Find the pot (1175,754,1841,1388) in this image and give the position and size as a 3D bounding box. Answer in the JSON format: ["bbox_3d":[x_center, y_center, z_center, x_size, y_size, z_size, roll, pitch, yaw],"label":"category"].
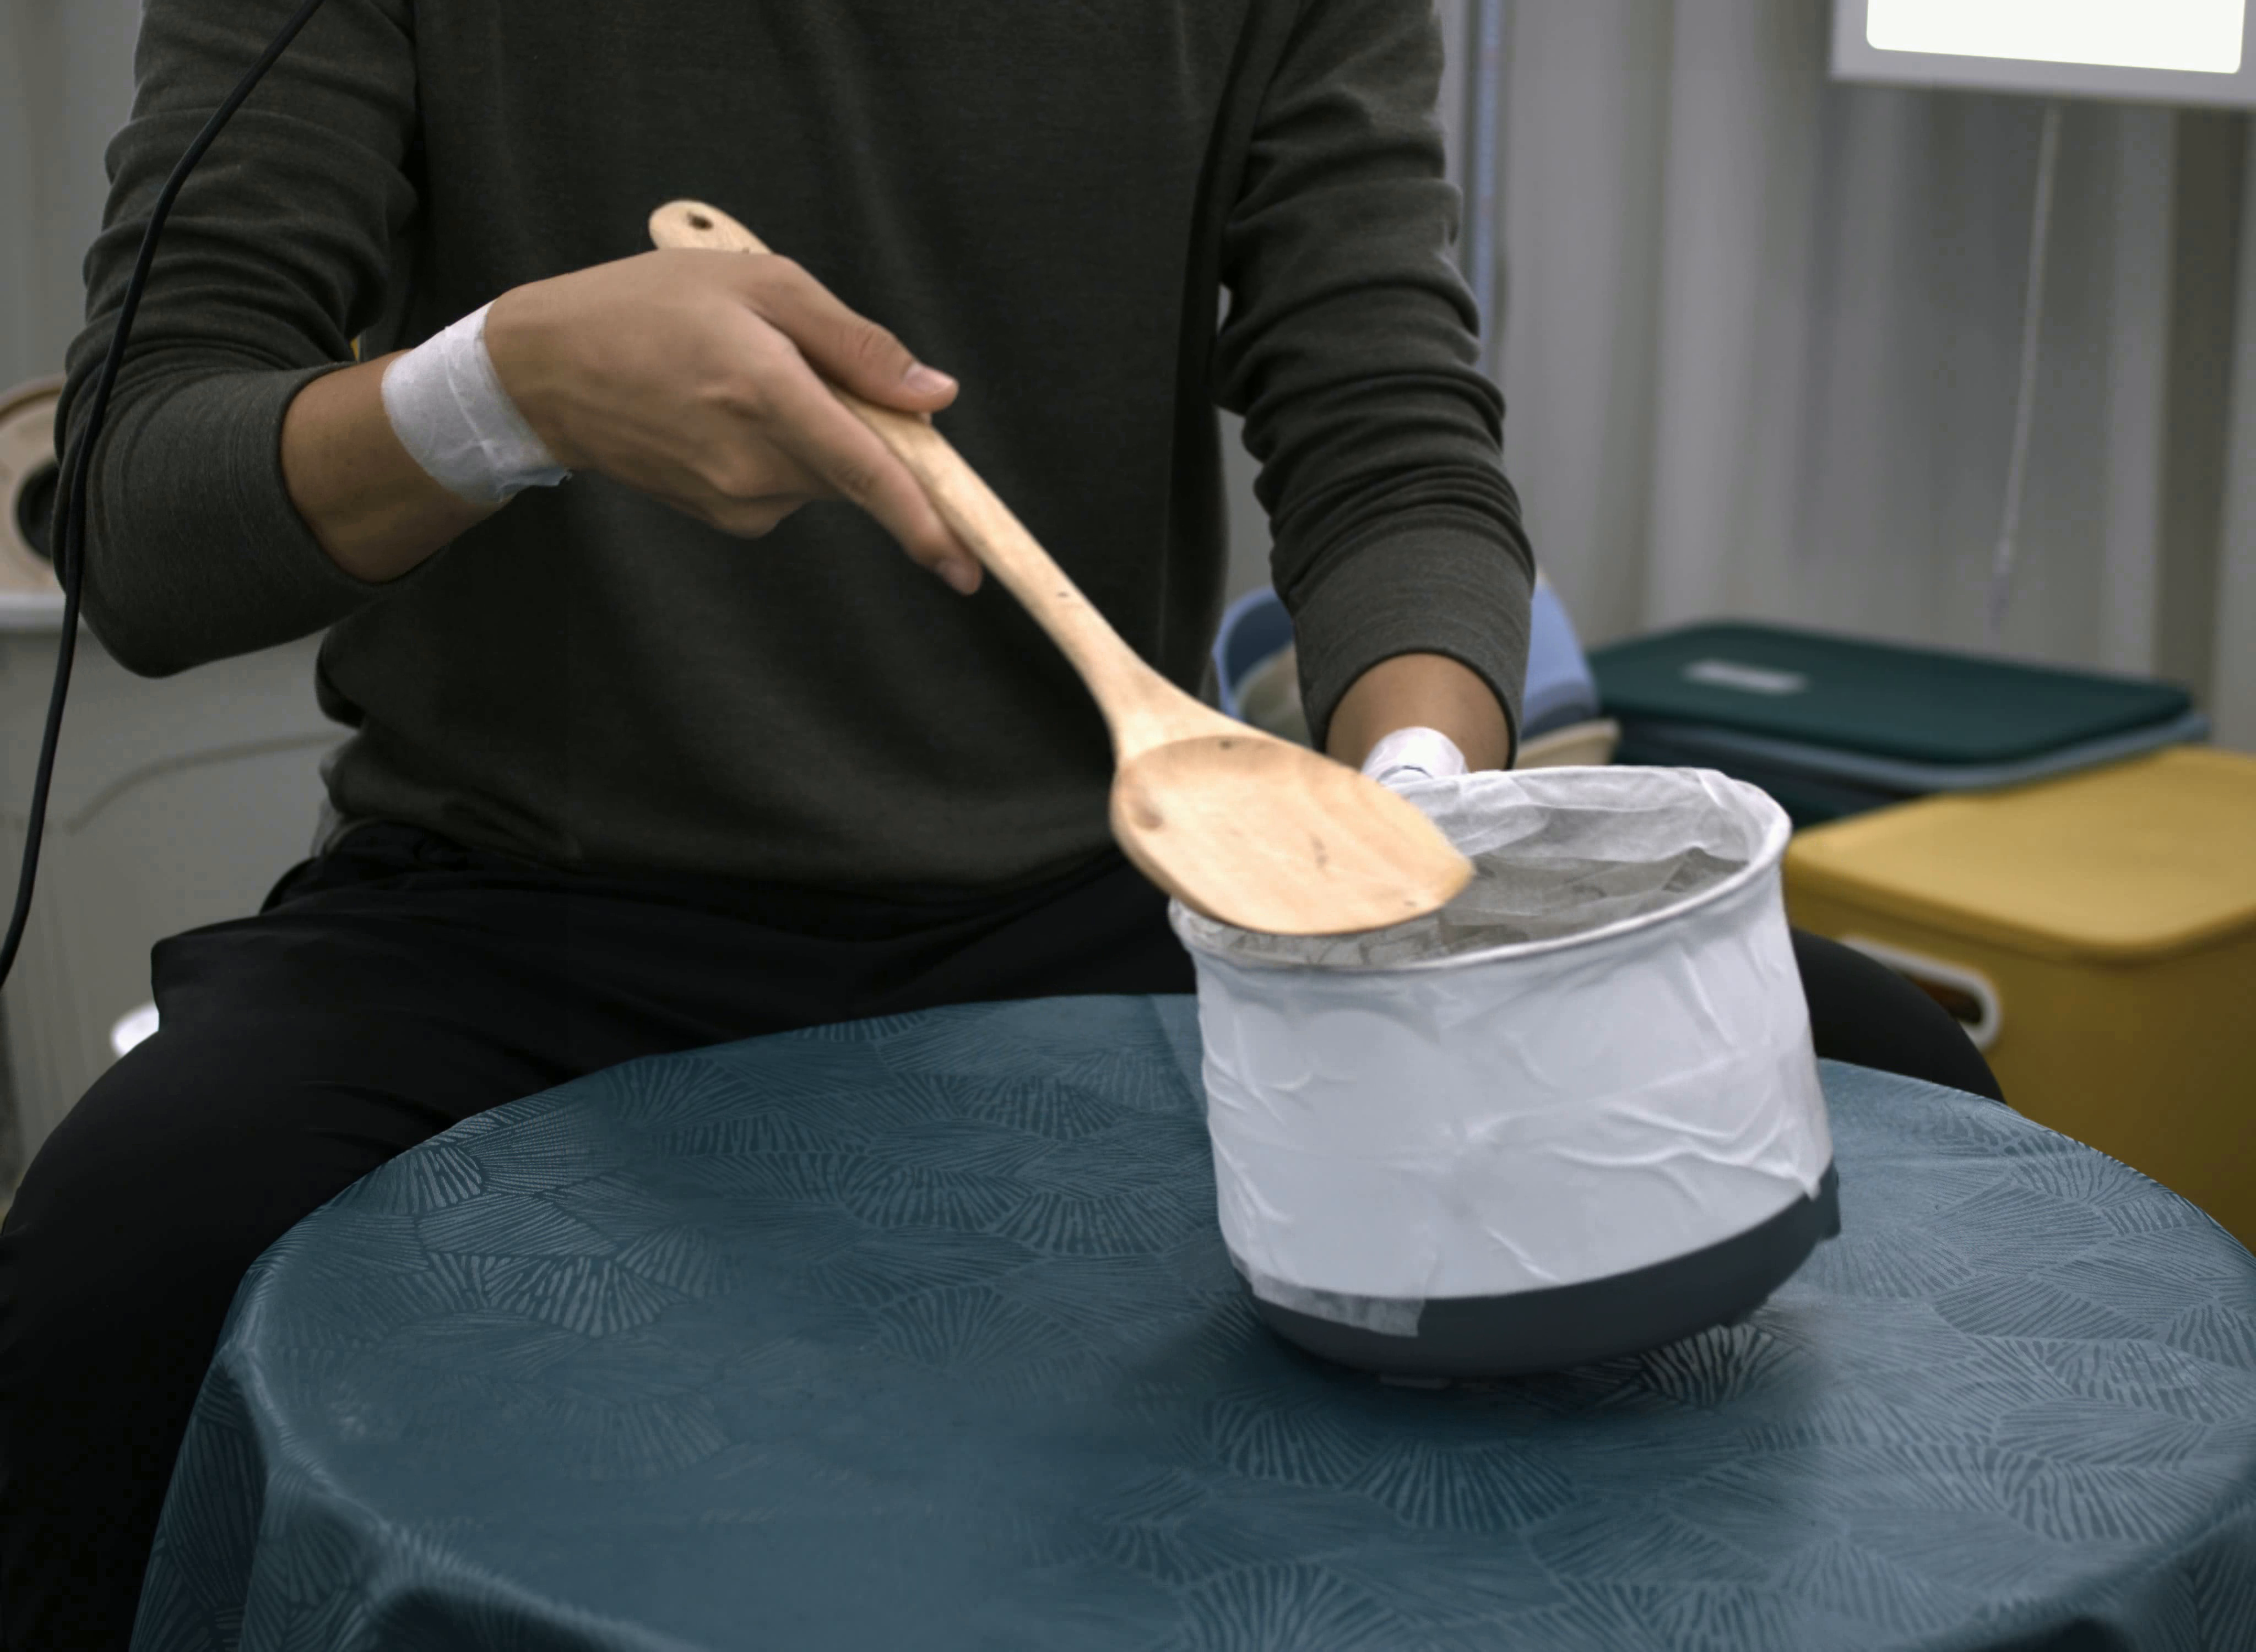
[{"bbox_3d":[0.104,0.062,1.519,0.178,0.138,0.231,-10,17,-8],"label":"pot"}]

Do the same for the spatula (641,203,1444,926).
[{"bbox_3d":[-0.046,-0.082,1.504,0.096,0.018,0.385,-6,40,-37],"label":"spatula"}]
